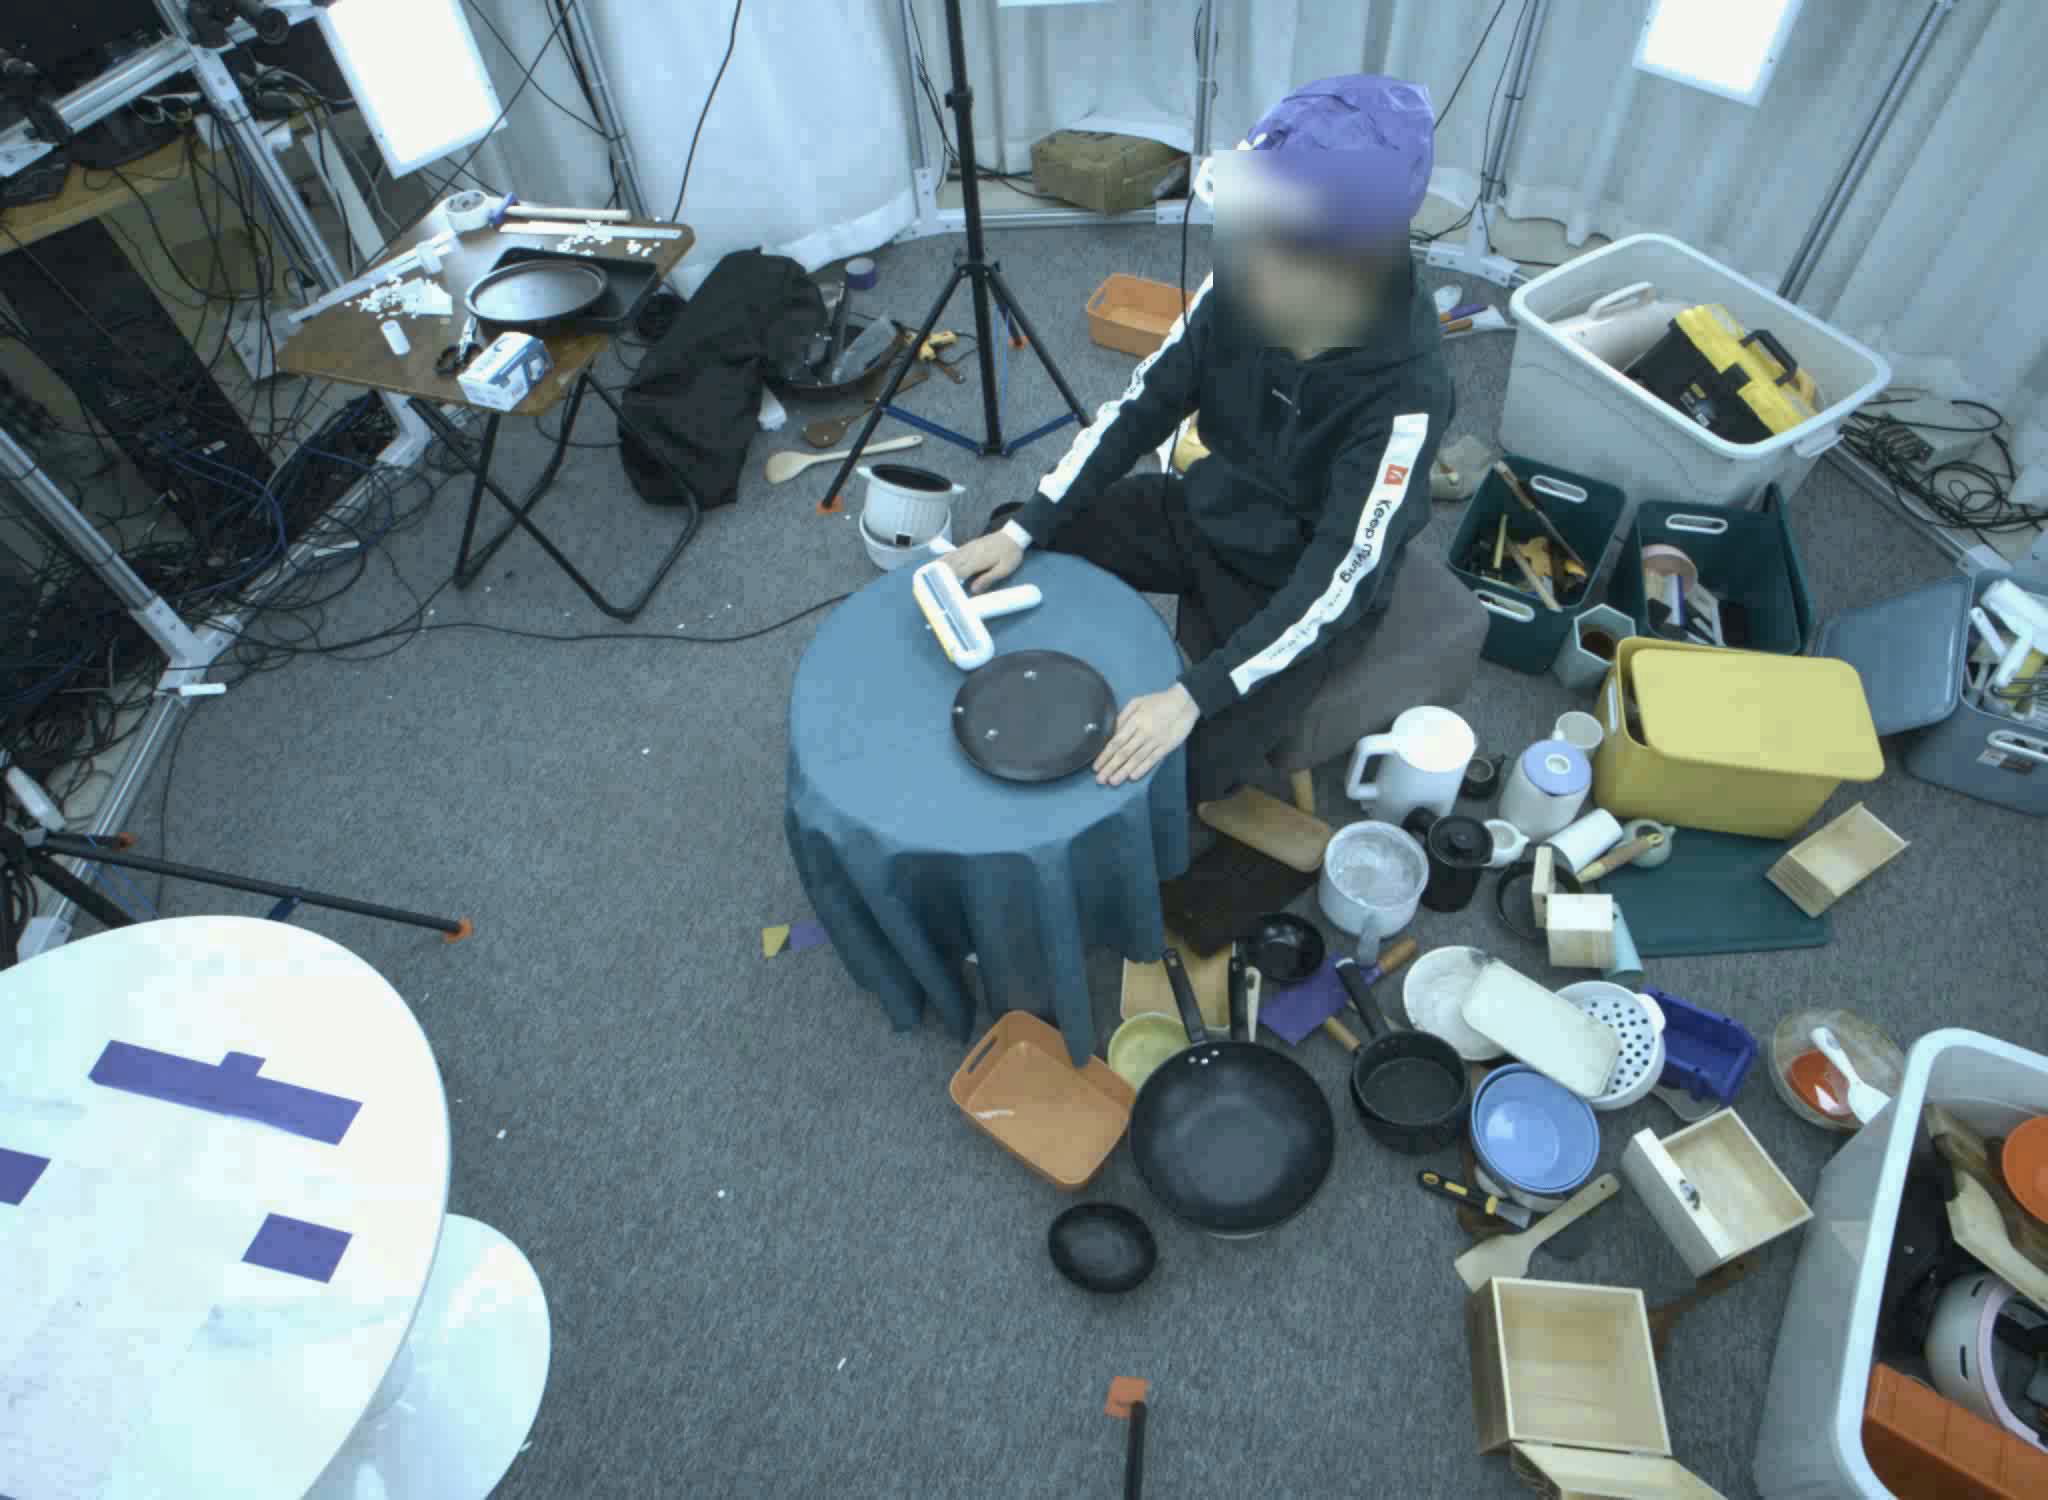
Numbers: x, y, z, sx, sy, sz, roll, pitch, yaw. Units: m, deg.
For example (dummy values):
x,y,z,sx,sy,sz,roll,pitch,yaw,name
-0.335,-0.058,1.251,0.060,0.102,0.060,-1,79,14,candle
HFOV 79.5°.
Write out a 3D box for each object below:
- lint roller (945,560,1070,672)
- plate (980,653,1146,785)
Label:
x,y,z,sx,sy,sz,roll,pitch,yaw,name
-0.013,-0.211,1.915,0.195,0.074,0.190,-10,60,-23,lint roller
0.057,-0.044,1.798,0.244,0.024,0.242,-1,54,2,plate
